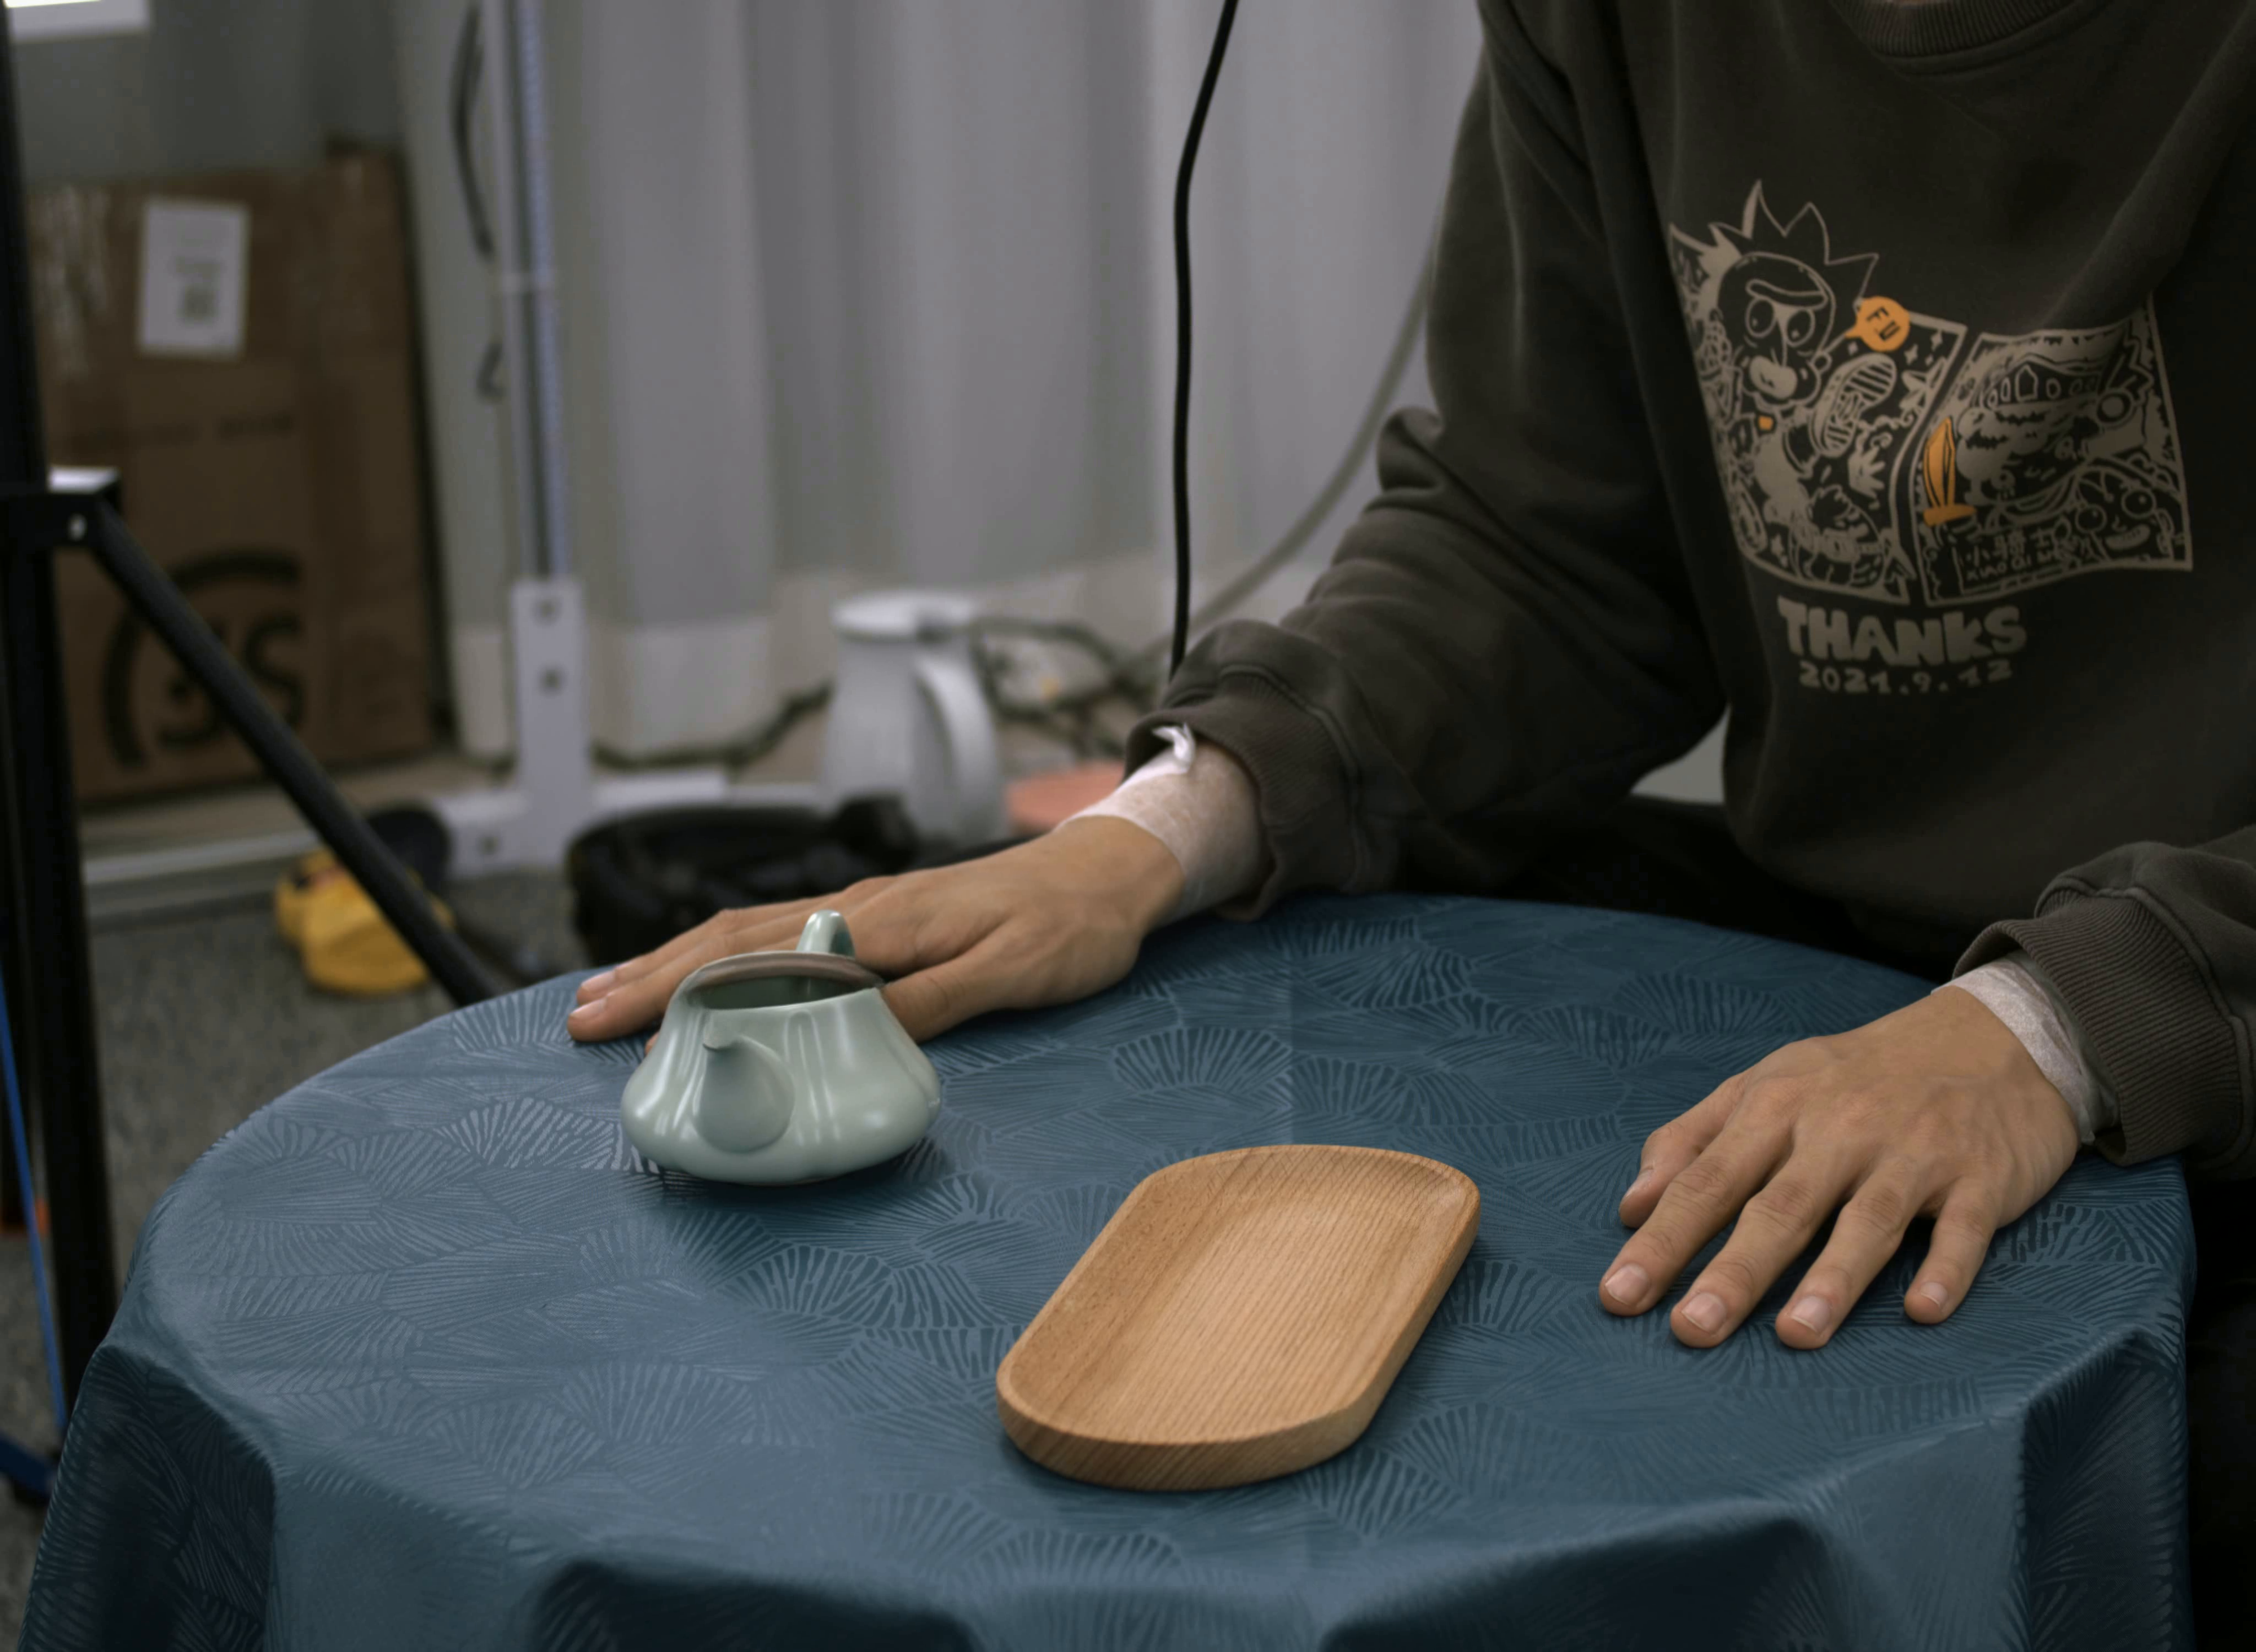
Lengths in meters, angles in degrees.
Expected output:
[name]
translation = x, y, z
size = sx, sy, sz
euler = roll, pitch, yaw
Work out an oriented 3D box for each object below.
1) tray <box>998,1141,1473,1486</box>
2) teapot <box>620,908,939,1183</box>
[tray]
translation = 0.032, 0.130, 1.447
size = 0.102, 0.020, 0.229
euler = 2, 15, 14
[teapot]
translation = -0.105, 0.070, 1.606
size = 0.096, 0.061, 0.136
euler = -1, 16, 10
